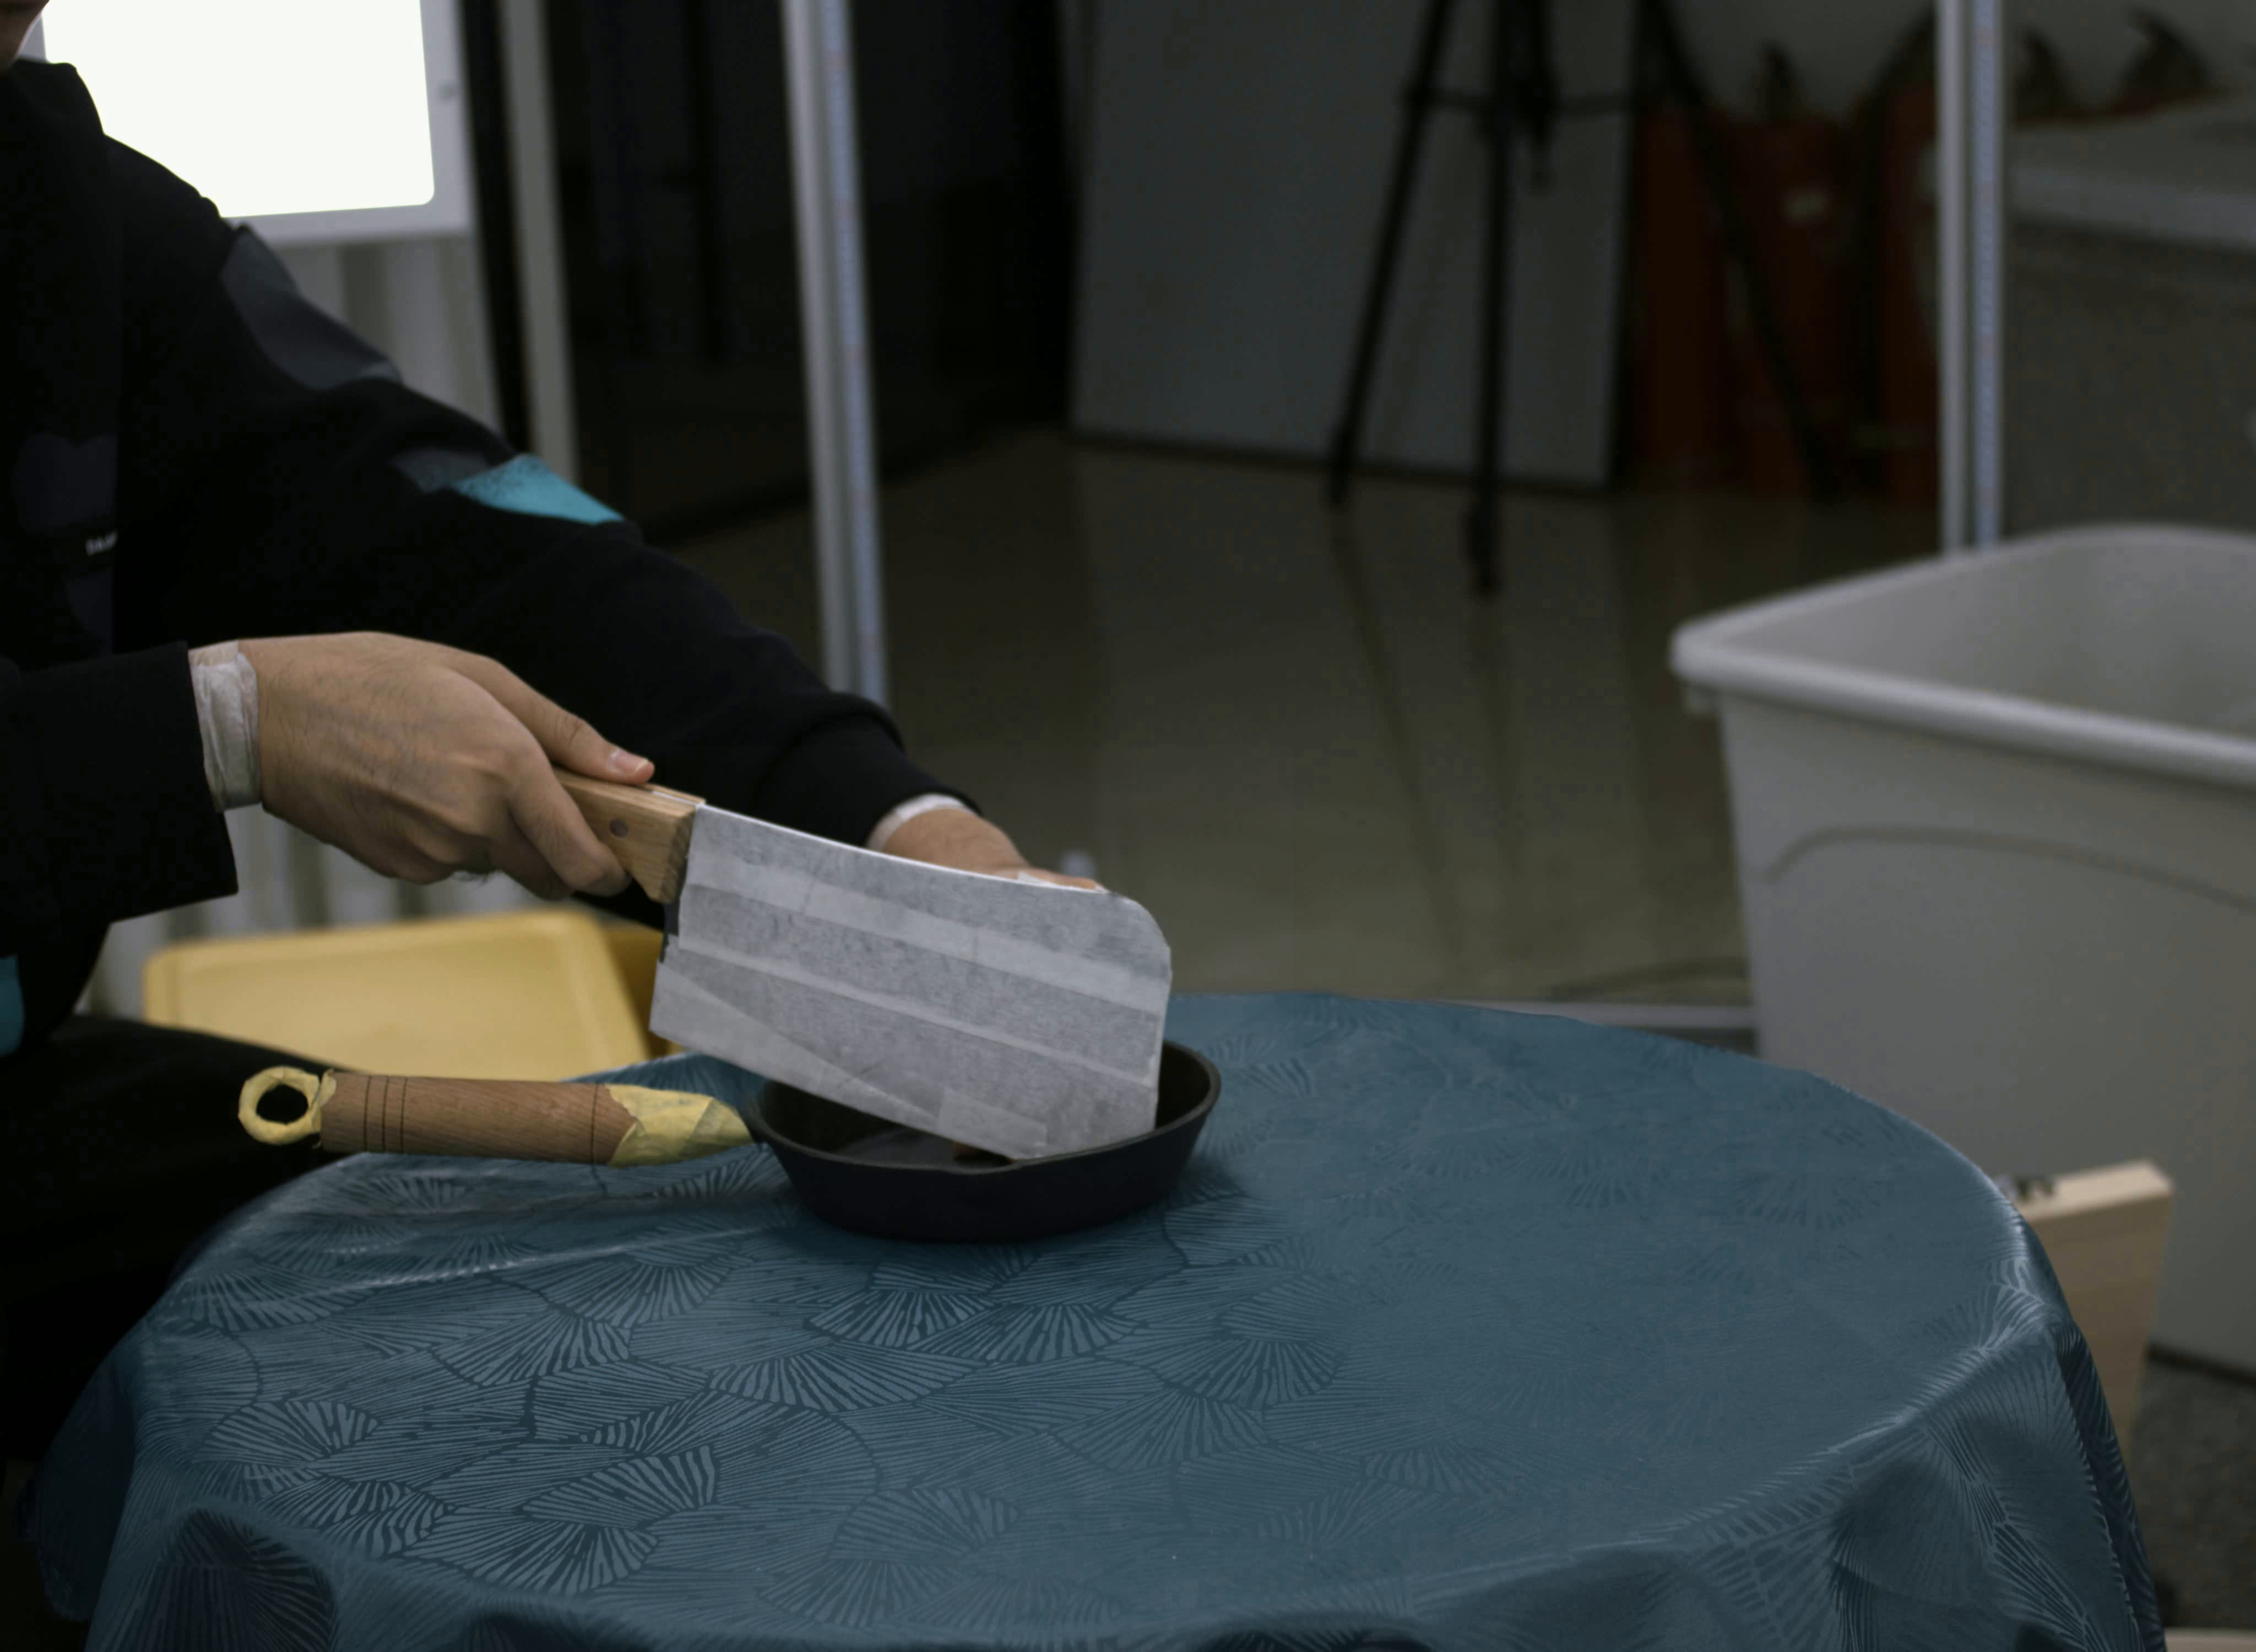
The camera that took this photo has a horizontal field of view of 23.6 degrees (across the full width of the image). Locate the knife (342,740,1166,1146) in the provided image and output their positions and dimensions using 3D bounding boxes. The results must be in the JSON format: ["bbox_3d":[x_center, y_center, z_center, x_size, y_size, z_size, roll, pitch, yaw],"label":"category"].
[{"bbox_3d":[-0.124,0.031,1.795,0.315,0.115,0.021,19,19,19],"label":"knife"}]

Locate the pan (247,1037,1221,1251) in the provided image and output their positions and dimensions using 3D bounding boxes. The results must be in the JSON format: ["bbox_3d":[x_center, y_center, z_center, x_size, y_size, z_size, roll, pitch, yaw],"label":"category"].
[{"bbox_3d":[-0.129,0.102,1.784,0.320,0.050,0.169,-2,14,2],"label":"pan"}]
